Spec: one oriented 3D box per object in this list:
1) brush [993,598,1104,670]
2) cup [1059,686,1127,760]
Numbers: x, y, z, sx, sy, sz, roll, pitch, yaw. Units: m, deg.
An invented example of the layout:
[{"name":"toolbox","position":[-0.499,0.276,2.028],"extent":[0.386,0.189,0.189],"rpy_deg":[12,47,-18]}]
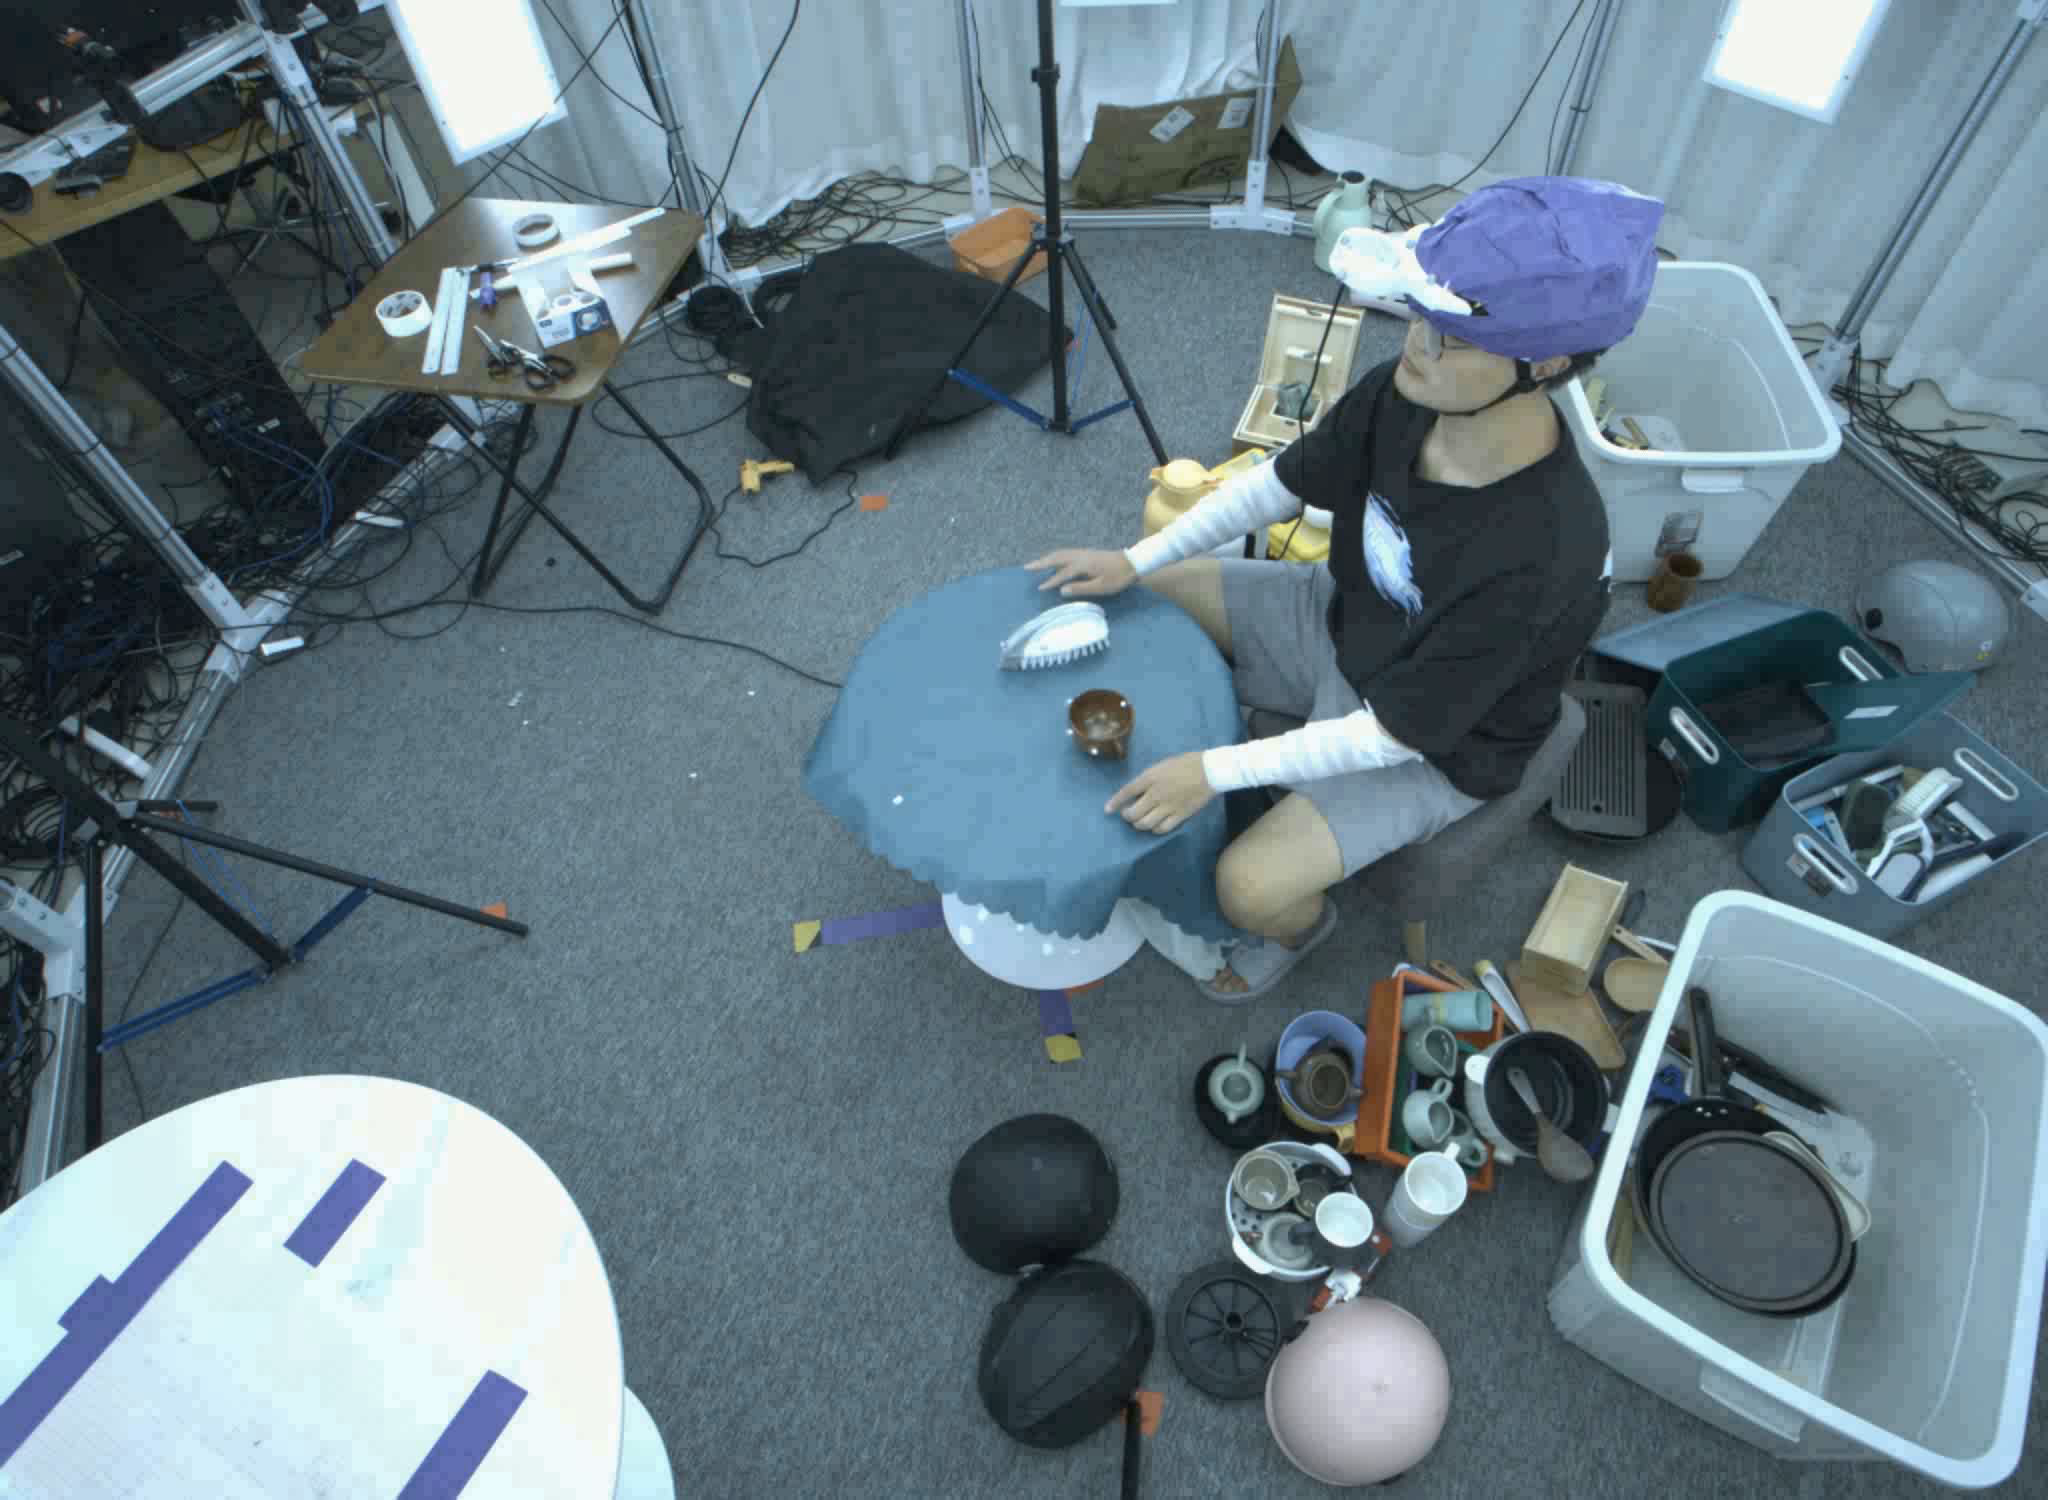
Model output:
[{"name":"brush","position":[0.031,-0.177,1.848],"extent":[0.176,0.095,0.060],"rpy_deg":[-19,51,-8]},{"name":"cup","position":[0.102,-0.027,1.753],"extent":[0.097,0.068,0.117],"rpy_deg":[-22,57,-15]}]
